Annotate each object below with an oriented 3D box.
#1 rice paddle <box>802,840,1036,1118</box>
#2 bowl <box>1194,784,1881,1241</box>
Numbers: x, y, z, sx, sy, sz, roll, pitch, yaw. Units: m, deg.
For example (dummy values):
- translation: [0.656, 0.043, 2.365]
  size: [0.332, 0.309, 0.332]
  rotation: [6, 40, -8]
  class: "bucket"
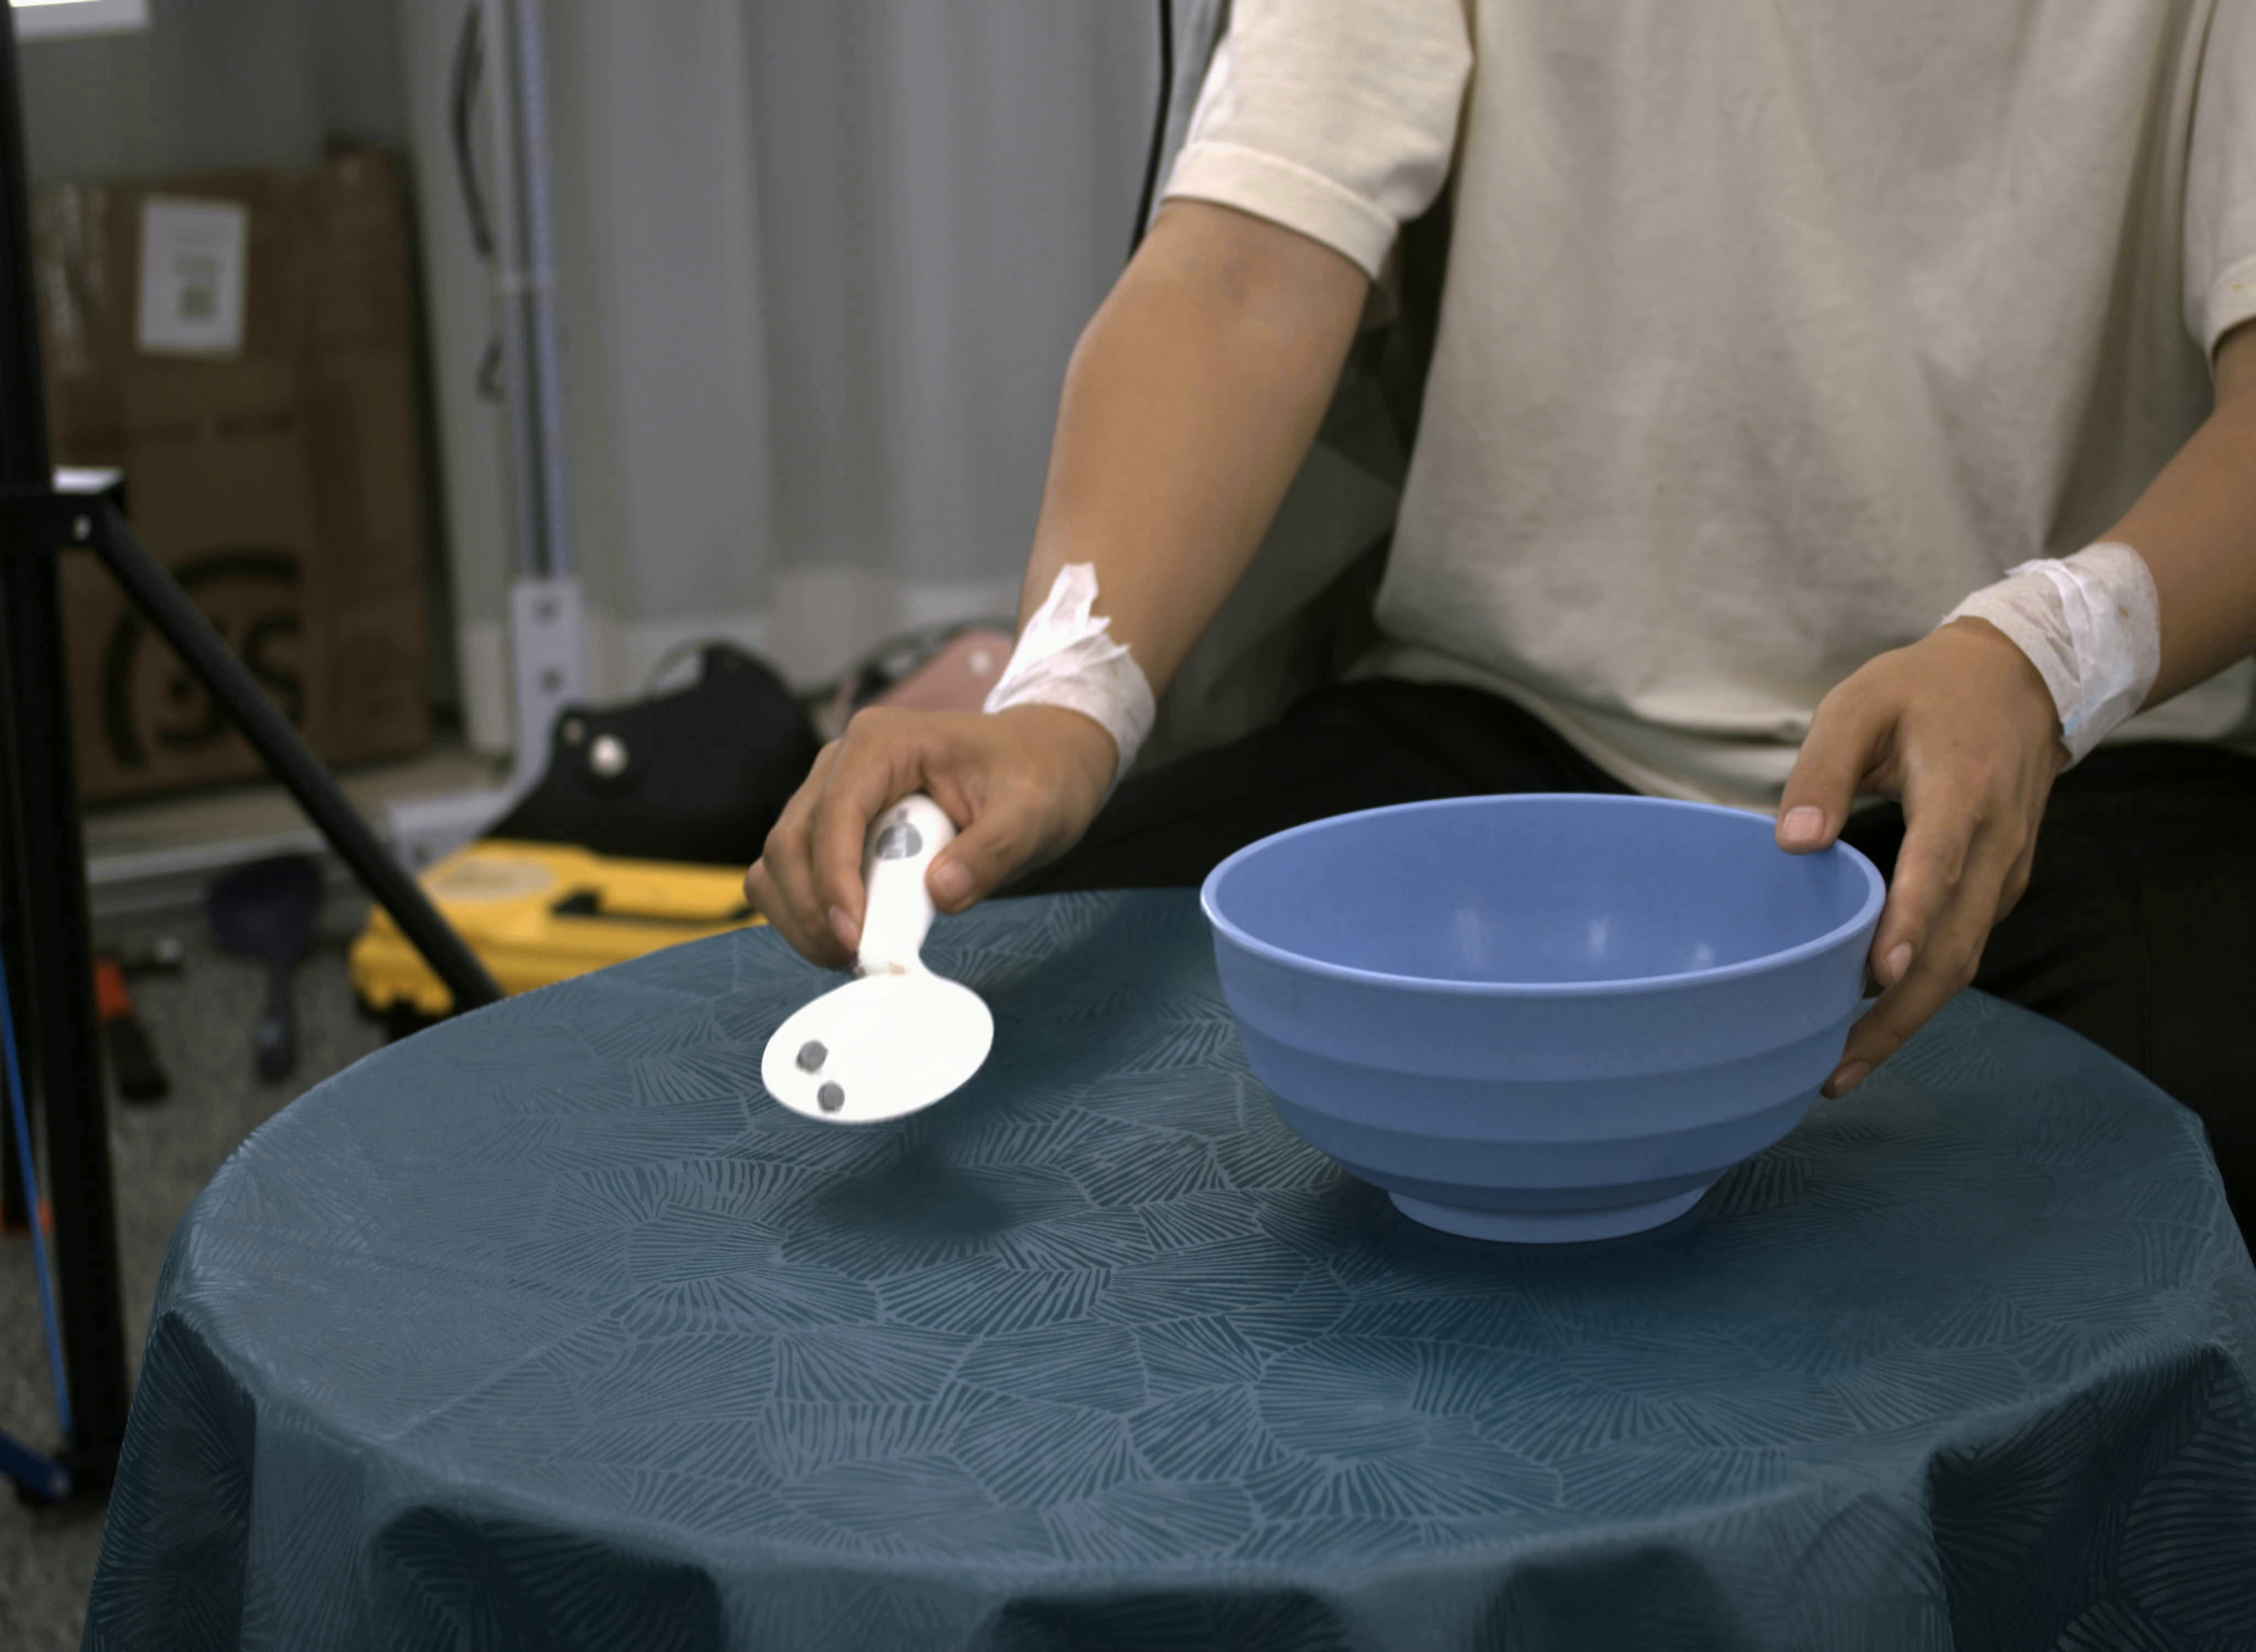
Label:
- translation: [-0.069, 0.048, 1.605]
  size: [0.068, 0.029, 0.207]
  rotation: [2, 17, -9]
  class: "rice paddle"
- translation: [0.119, 0.060, 1.529]
  size: [0.195, 0.095, 0.197]
  rotation: [-4, 16, 0]
  class: "bowl"
